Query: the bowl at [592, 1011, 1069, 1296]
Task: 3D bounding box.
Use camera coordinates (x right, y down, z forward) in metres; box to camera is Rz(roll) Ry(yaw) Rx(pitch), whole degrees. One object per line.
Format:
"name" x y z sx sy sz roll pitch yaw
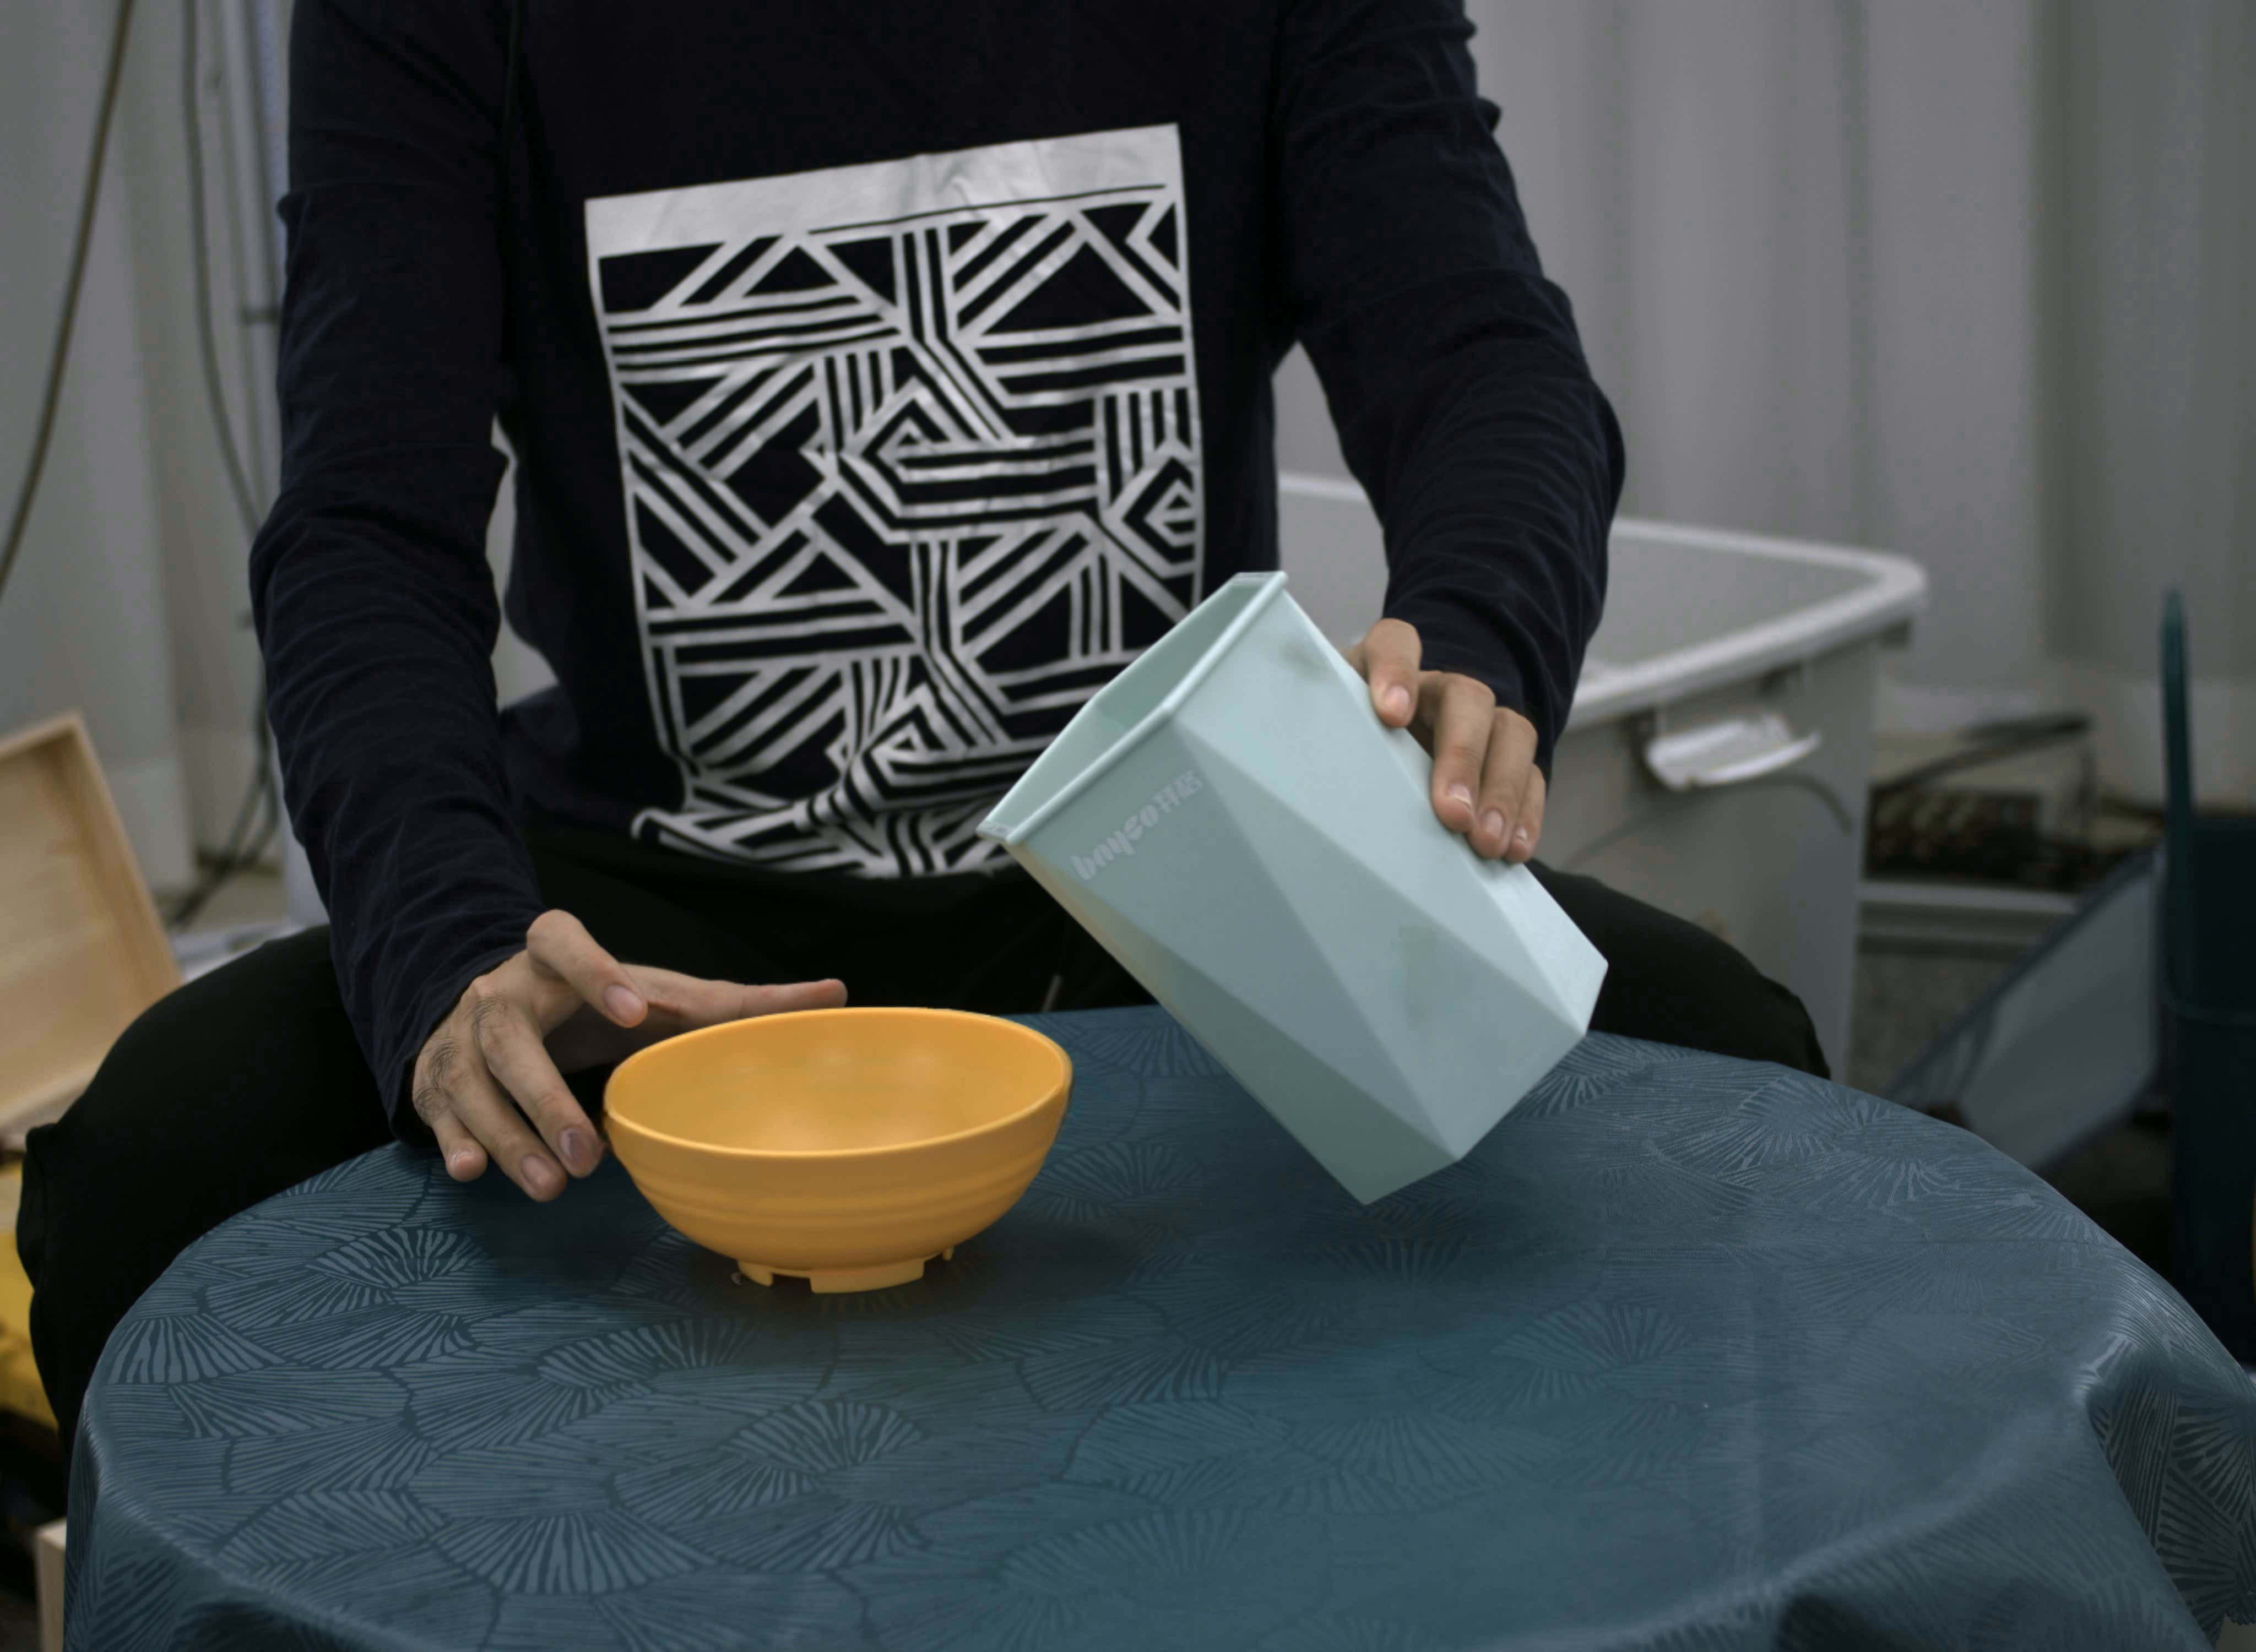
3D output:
"bowl" -0.089 0.105 1.662 0.145 0.060 0.146 -2 14 0

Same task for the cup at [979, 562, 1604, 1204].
"cup" 0.055 0.019 1.637 0.130 0.162 0.116 -39 7 22
